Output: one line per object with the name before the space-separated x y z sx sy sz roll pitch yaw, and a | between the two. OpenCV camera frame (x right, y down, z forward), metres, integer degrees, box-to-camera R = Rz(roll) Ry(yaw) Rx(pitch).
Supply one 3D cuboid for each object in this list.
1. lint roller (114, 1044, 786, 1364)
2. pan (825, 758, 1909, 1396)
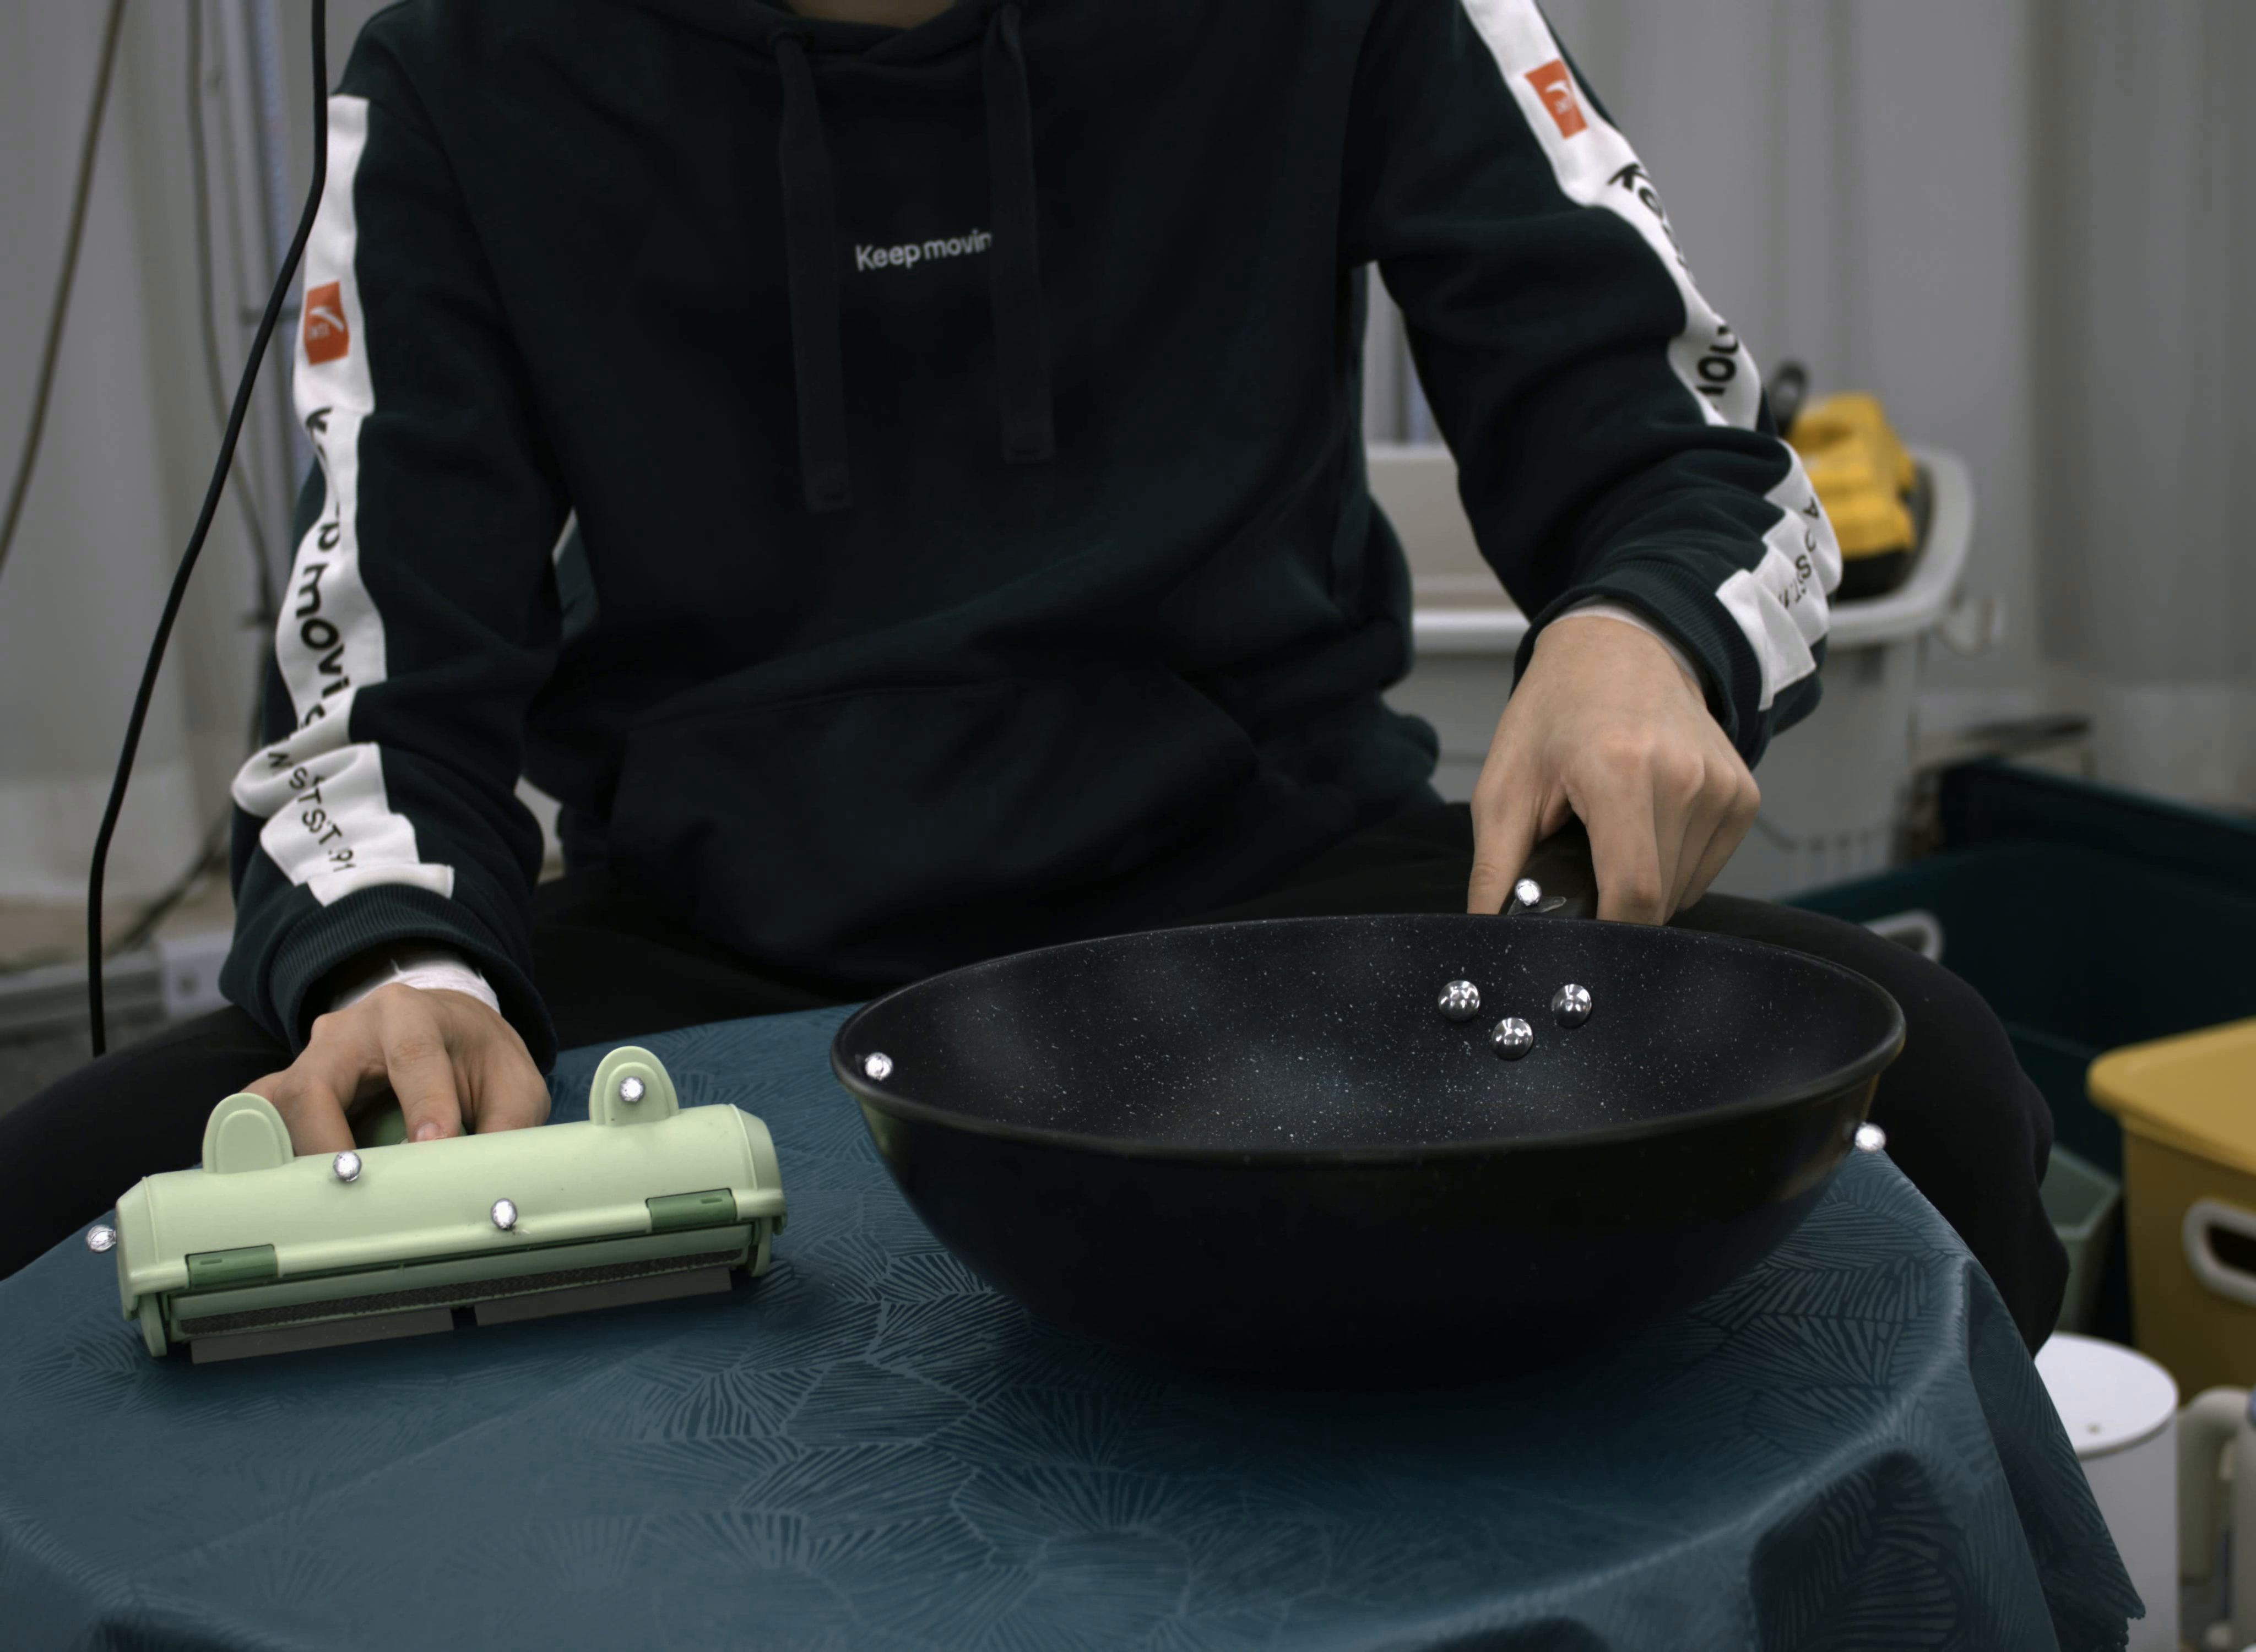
lint roller | -0.216 0.097 1.681 0.198 0.082 0.185 -7 20 -13
pan | 0.098 0.074 1.647 0.310 0.111 0.477 3 11 21
